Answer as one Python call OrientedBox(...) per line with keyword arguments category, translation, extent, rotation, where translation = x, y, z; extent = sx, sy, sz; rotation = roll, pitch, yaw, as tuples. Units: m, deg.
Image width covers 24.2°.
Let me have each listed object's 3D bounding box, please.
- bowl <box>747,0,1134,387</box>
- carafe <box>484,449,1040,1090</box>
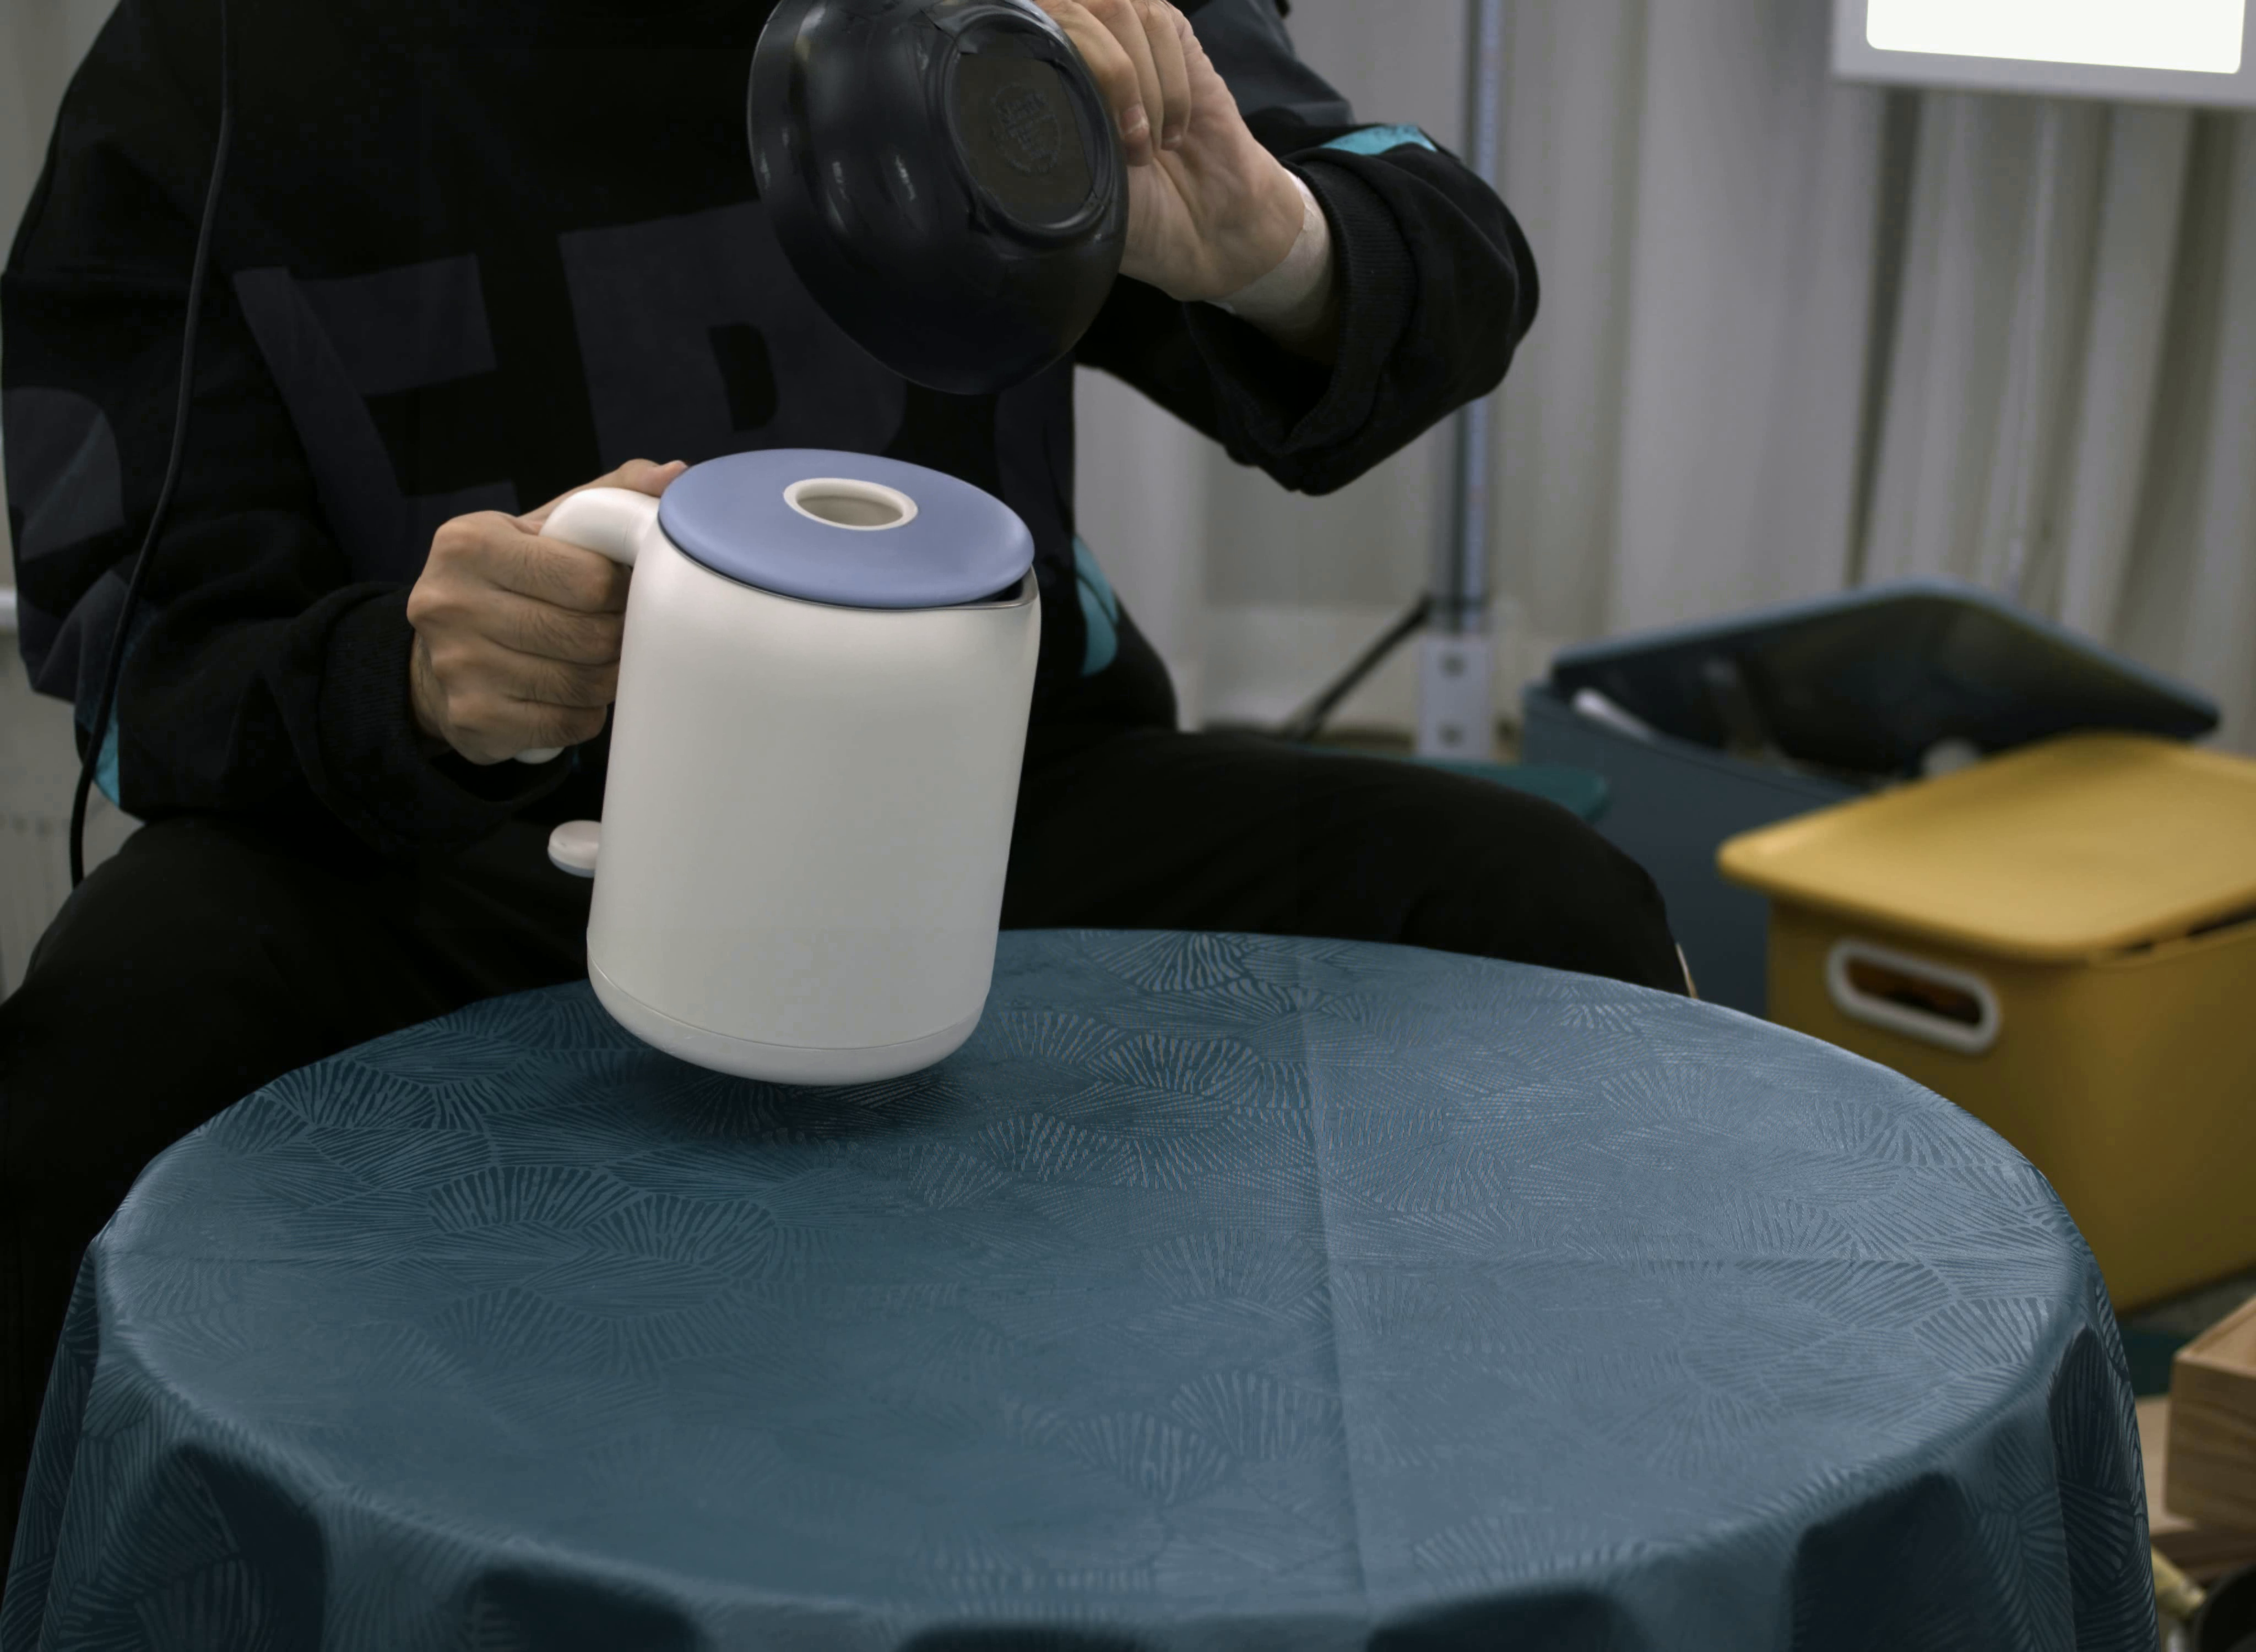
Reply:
OrientedBox(category="bowl", translation=(-0.045, -0.205, 1.570), extent=(0.049, 0.140, 0.141), rotation=(-20, -3, 44))
OrientedBox(category="carafe", translation=(-0.121, -0.025, 1.676), extent=(0.189, 0.184, 0.132), rotation=(16, 23, 23))
